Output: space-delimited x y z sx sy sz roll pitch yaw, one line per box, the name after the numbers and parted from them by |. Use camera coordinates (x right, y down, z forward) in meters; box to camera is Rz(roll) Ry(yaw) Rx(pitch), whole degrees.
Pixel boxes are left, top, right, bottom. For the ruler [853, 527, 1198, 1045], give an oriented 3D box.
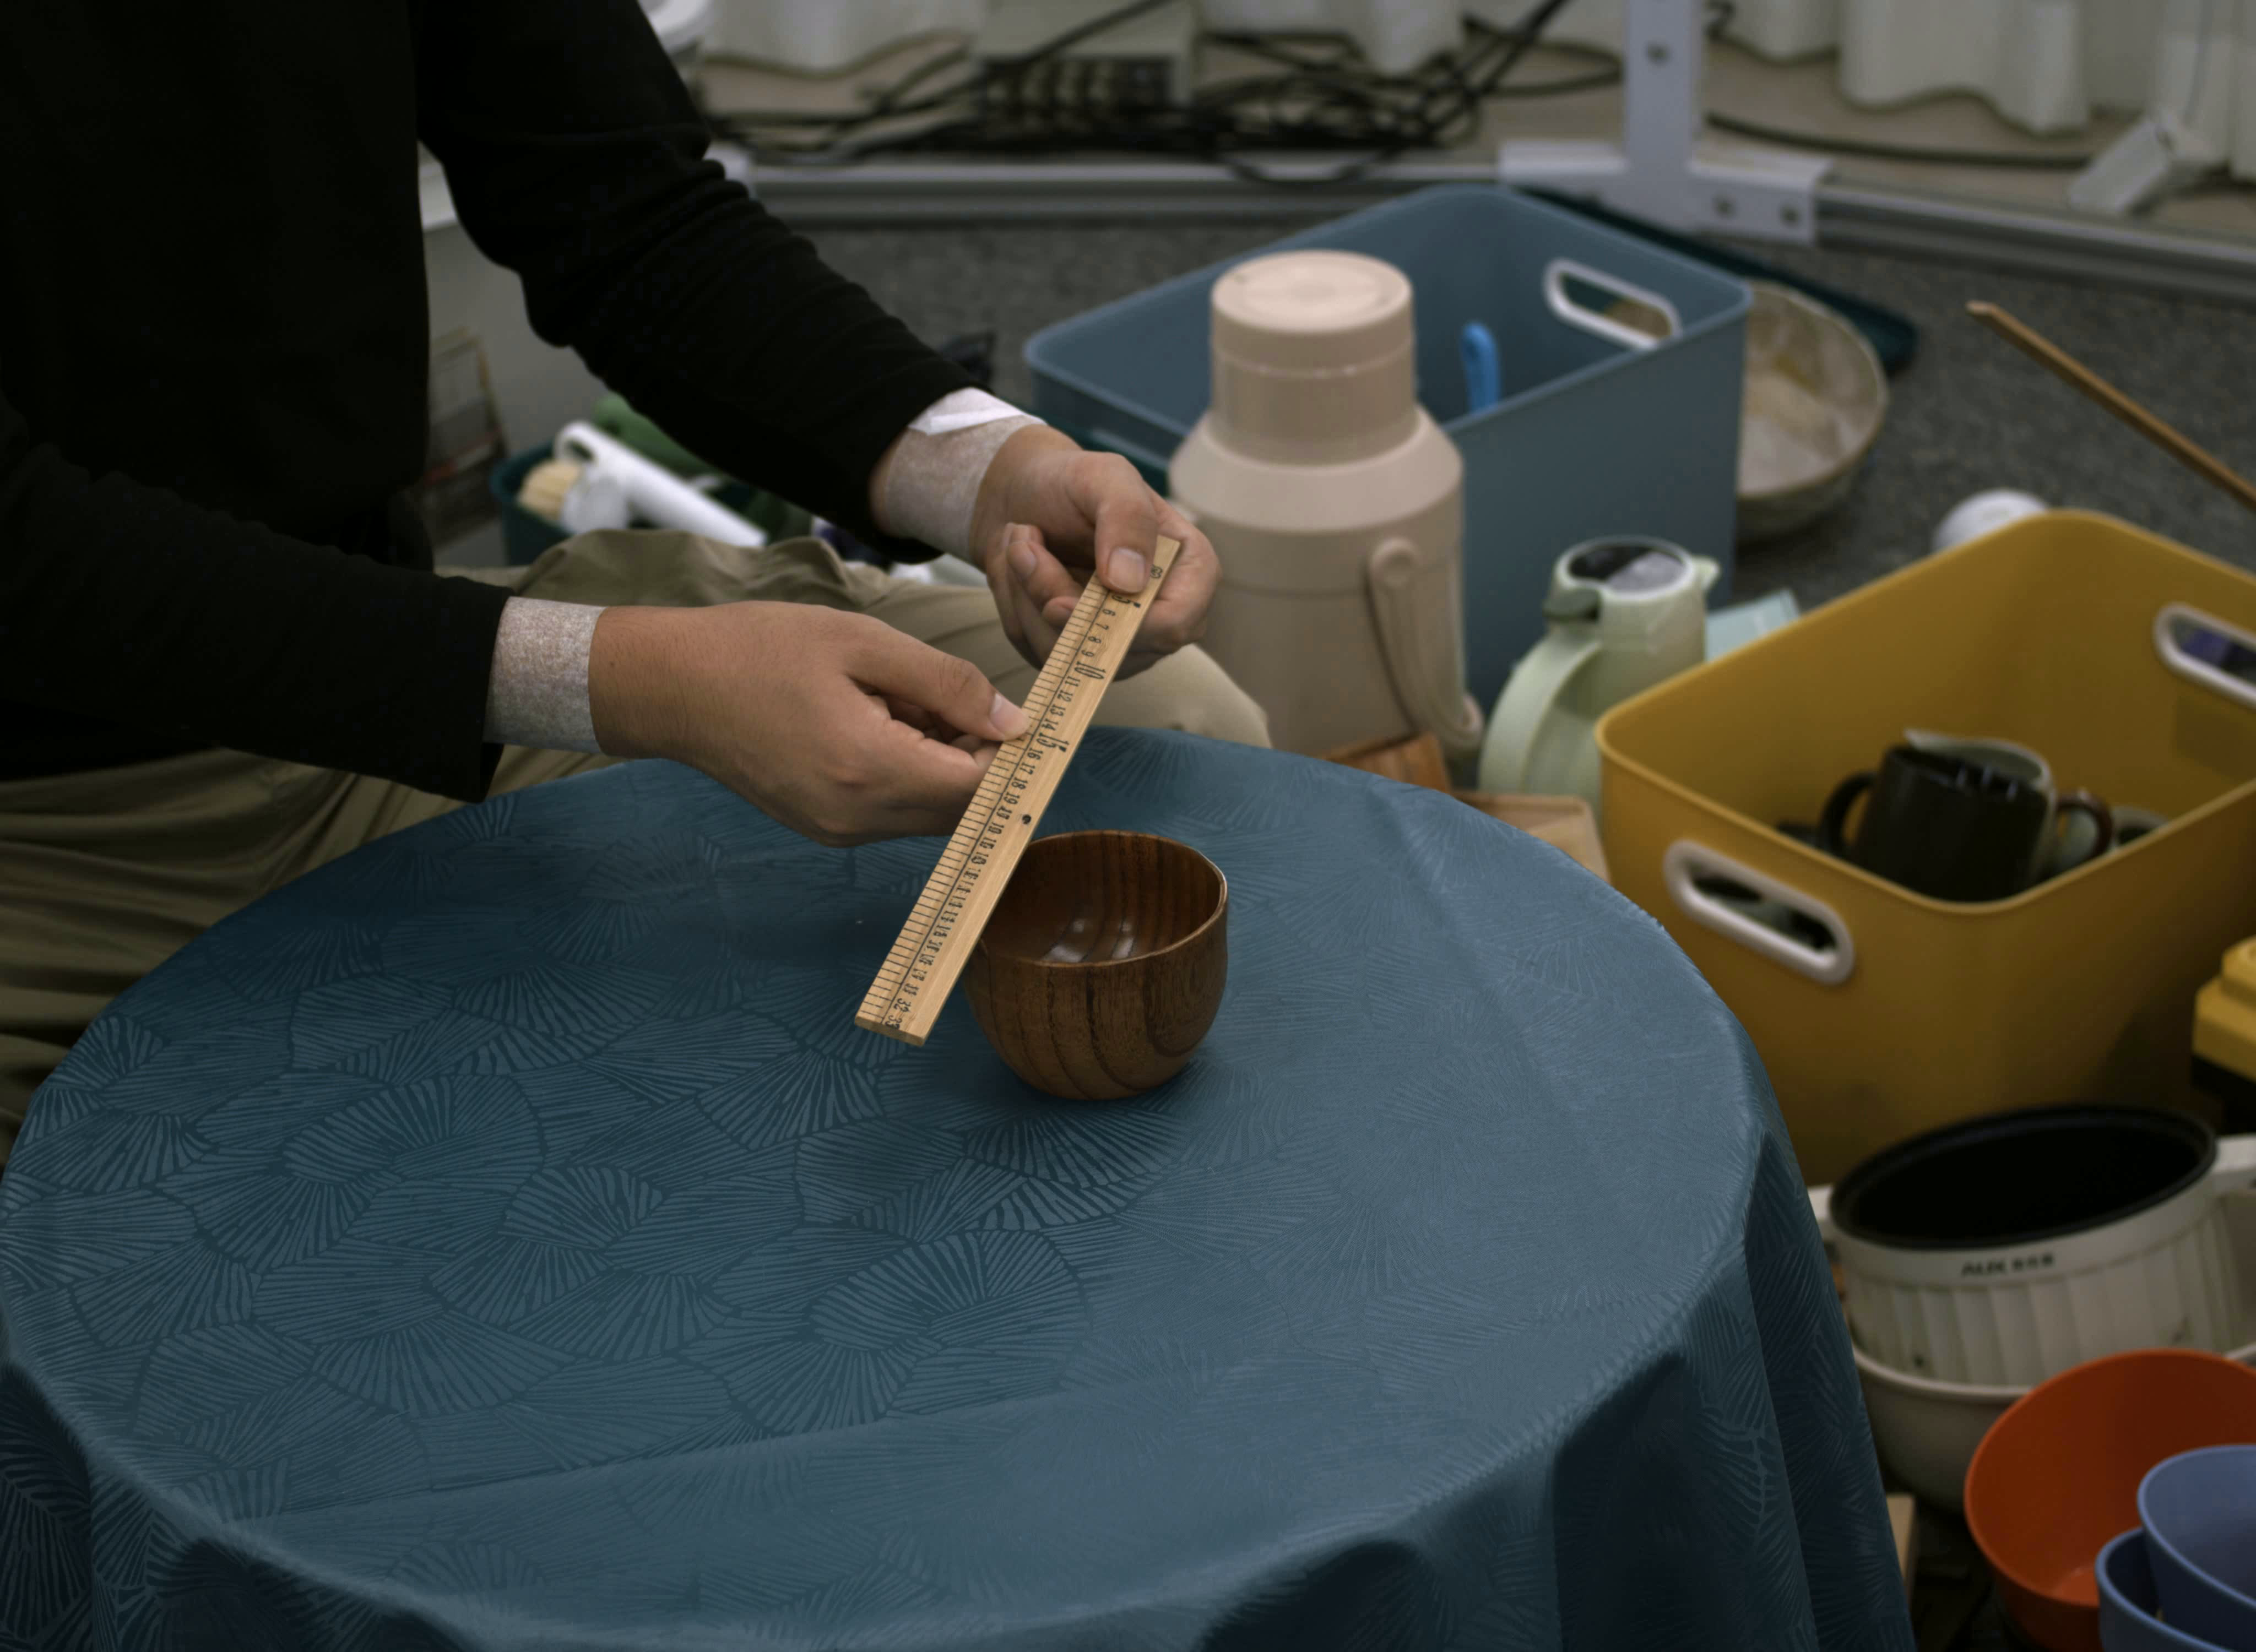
-0.032 -0.023 1.976 0.027 0.022 0.338 23 36 4 | ruler

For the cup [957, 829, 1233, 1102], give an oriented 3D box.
-0.017 0.048 1.936 0.097 0.067 0.119 -25 33 -33 | cup
